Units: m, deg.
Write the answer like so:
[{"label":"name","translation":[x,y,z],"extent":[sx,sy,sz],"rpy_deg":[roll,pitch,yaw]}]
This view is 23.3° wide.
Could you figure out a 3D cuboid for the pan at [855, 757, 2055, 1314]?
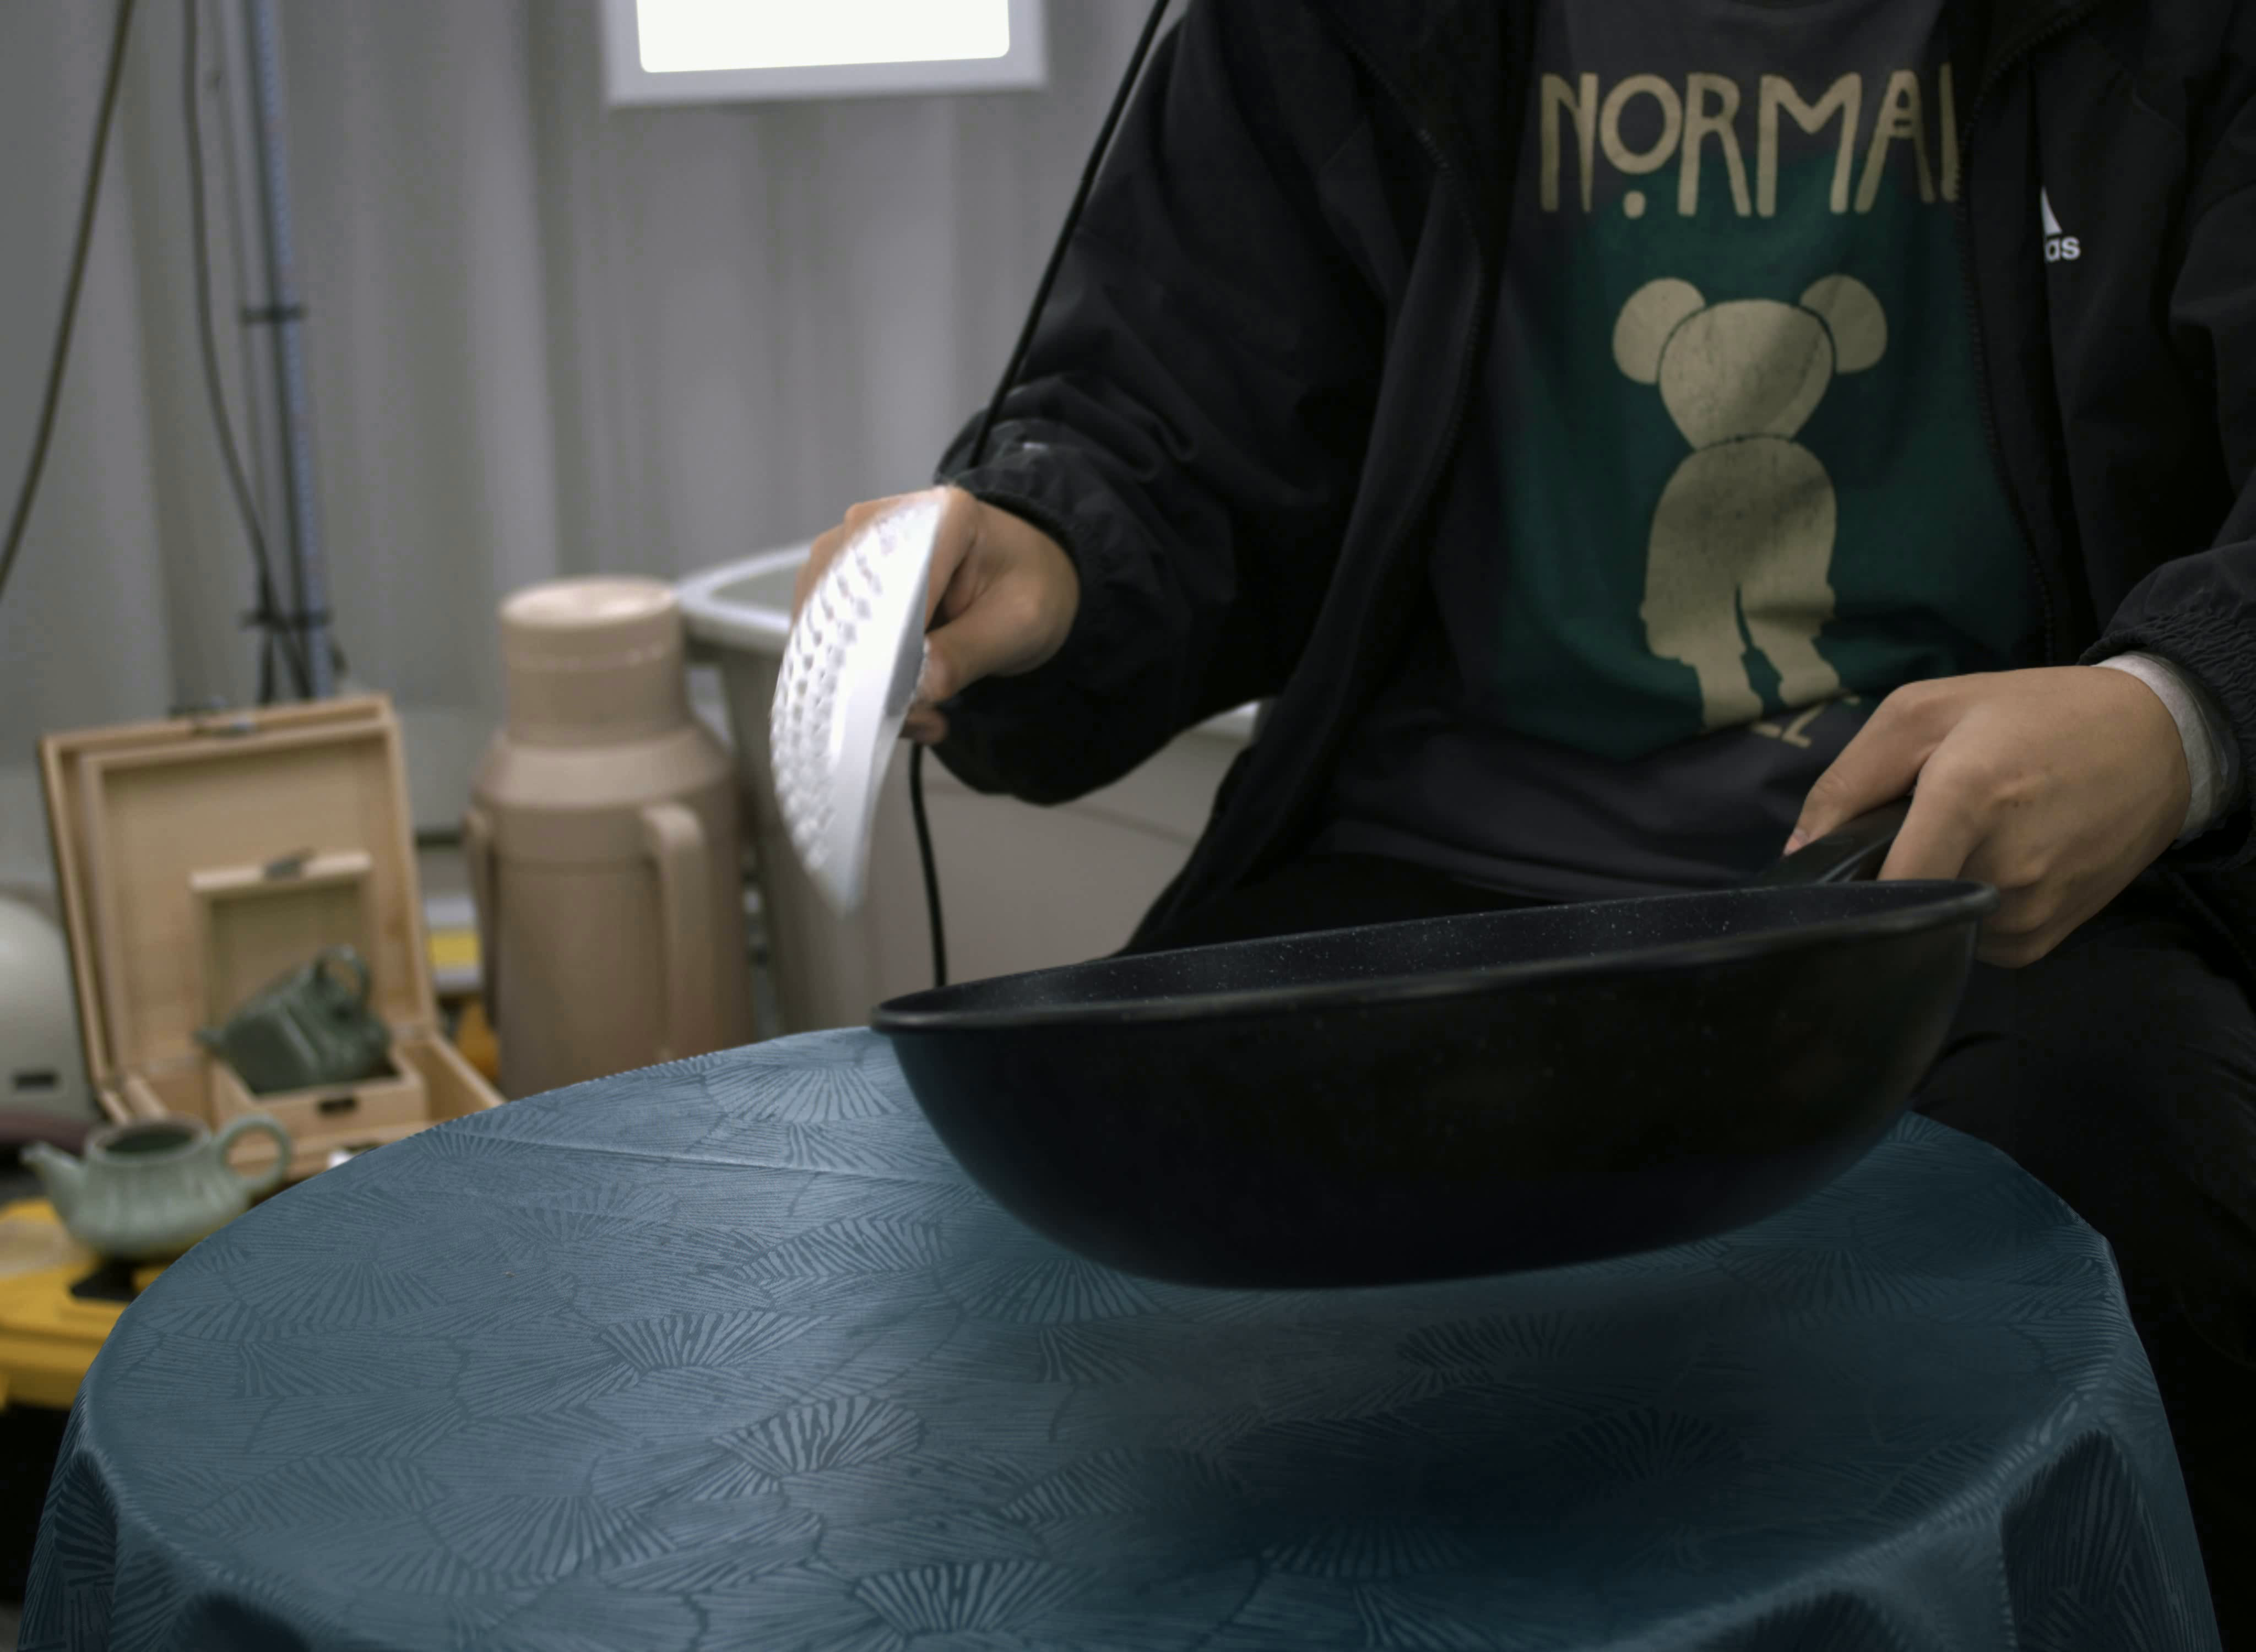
[{"label":"pan","translation":[0.135,0.057,1.543],"extent":[0.311,0.112,0.475],"rpy_deg":[-3,4,40]}]

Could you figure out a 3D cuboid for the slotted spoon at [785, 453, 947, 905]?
[{"label":"slotted spoon","translation":[-0.079,-0.052,1.762],"extent":[0.050,0.137,0.348],"rpy_deg":[6,3,2]}]
